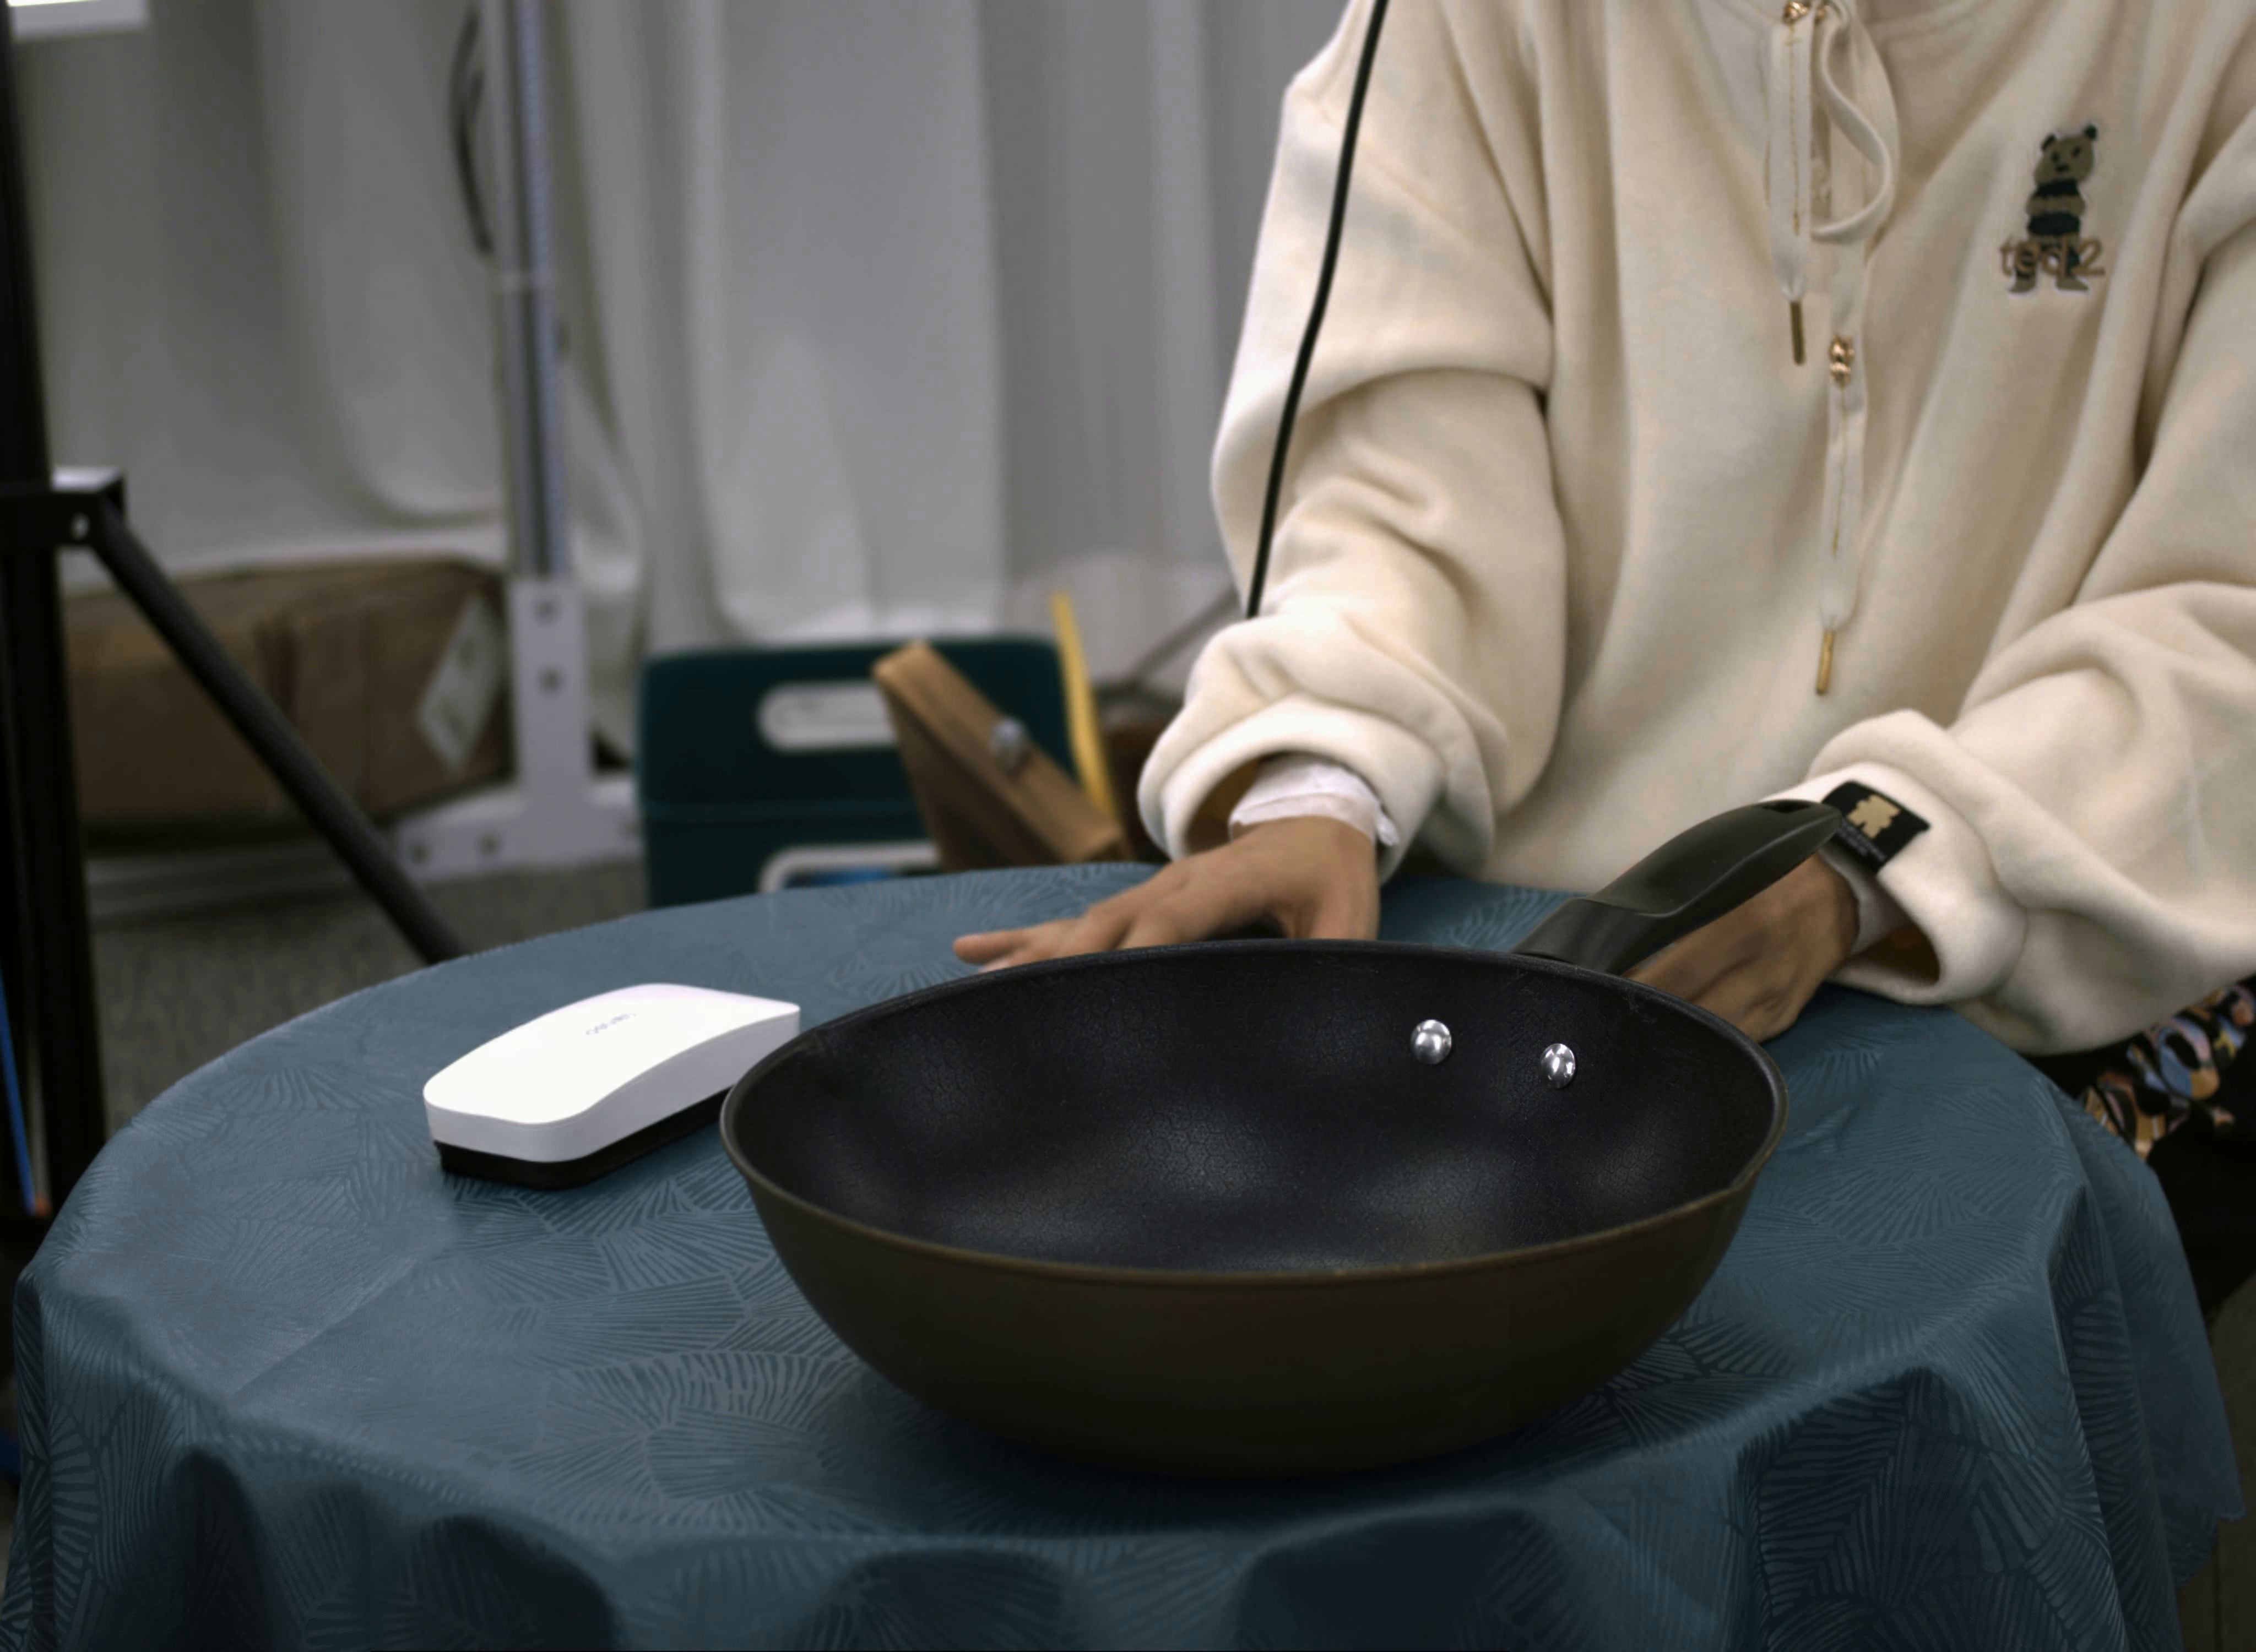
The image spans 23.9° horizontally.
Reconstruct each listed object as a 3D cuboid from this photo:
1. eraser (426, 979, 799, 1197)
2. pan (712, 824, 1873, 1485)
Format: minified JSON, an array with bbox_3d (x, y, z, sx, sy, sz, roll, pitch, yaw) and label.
[{"bbox_3d":[-0.156,0.077,1.638,0.064,0.034,0.129,11,21,32],"label":"eraser"},{"bbox_3d":[0.084,0.086,1.470,0.294,0.087,0.454,9,18,34],"label":"pan"}]
